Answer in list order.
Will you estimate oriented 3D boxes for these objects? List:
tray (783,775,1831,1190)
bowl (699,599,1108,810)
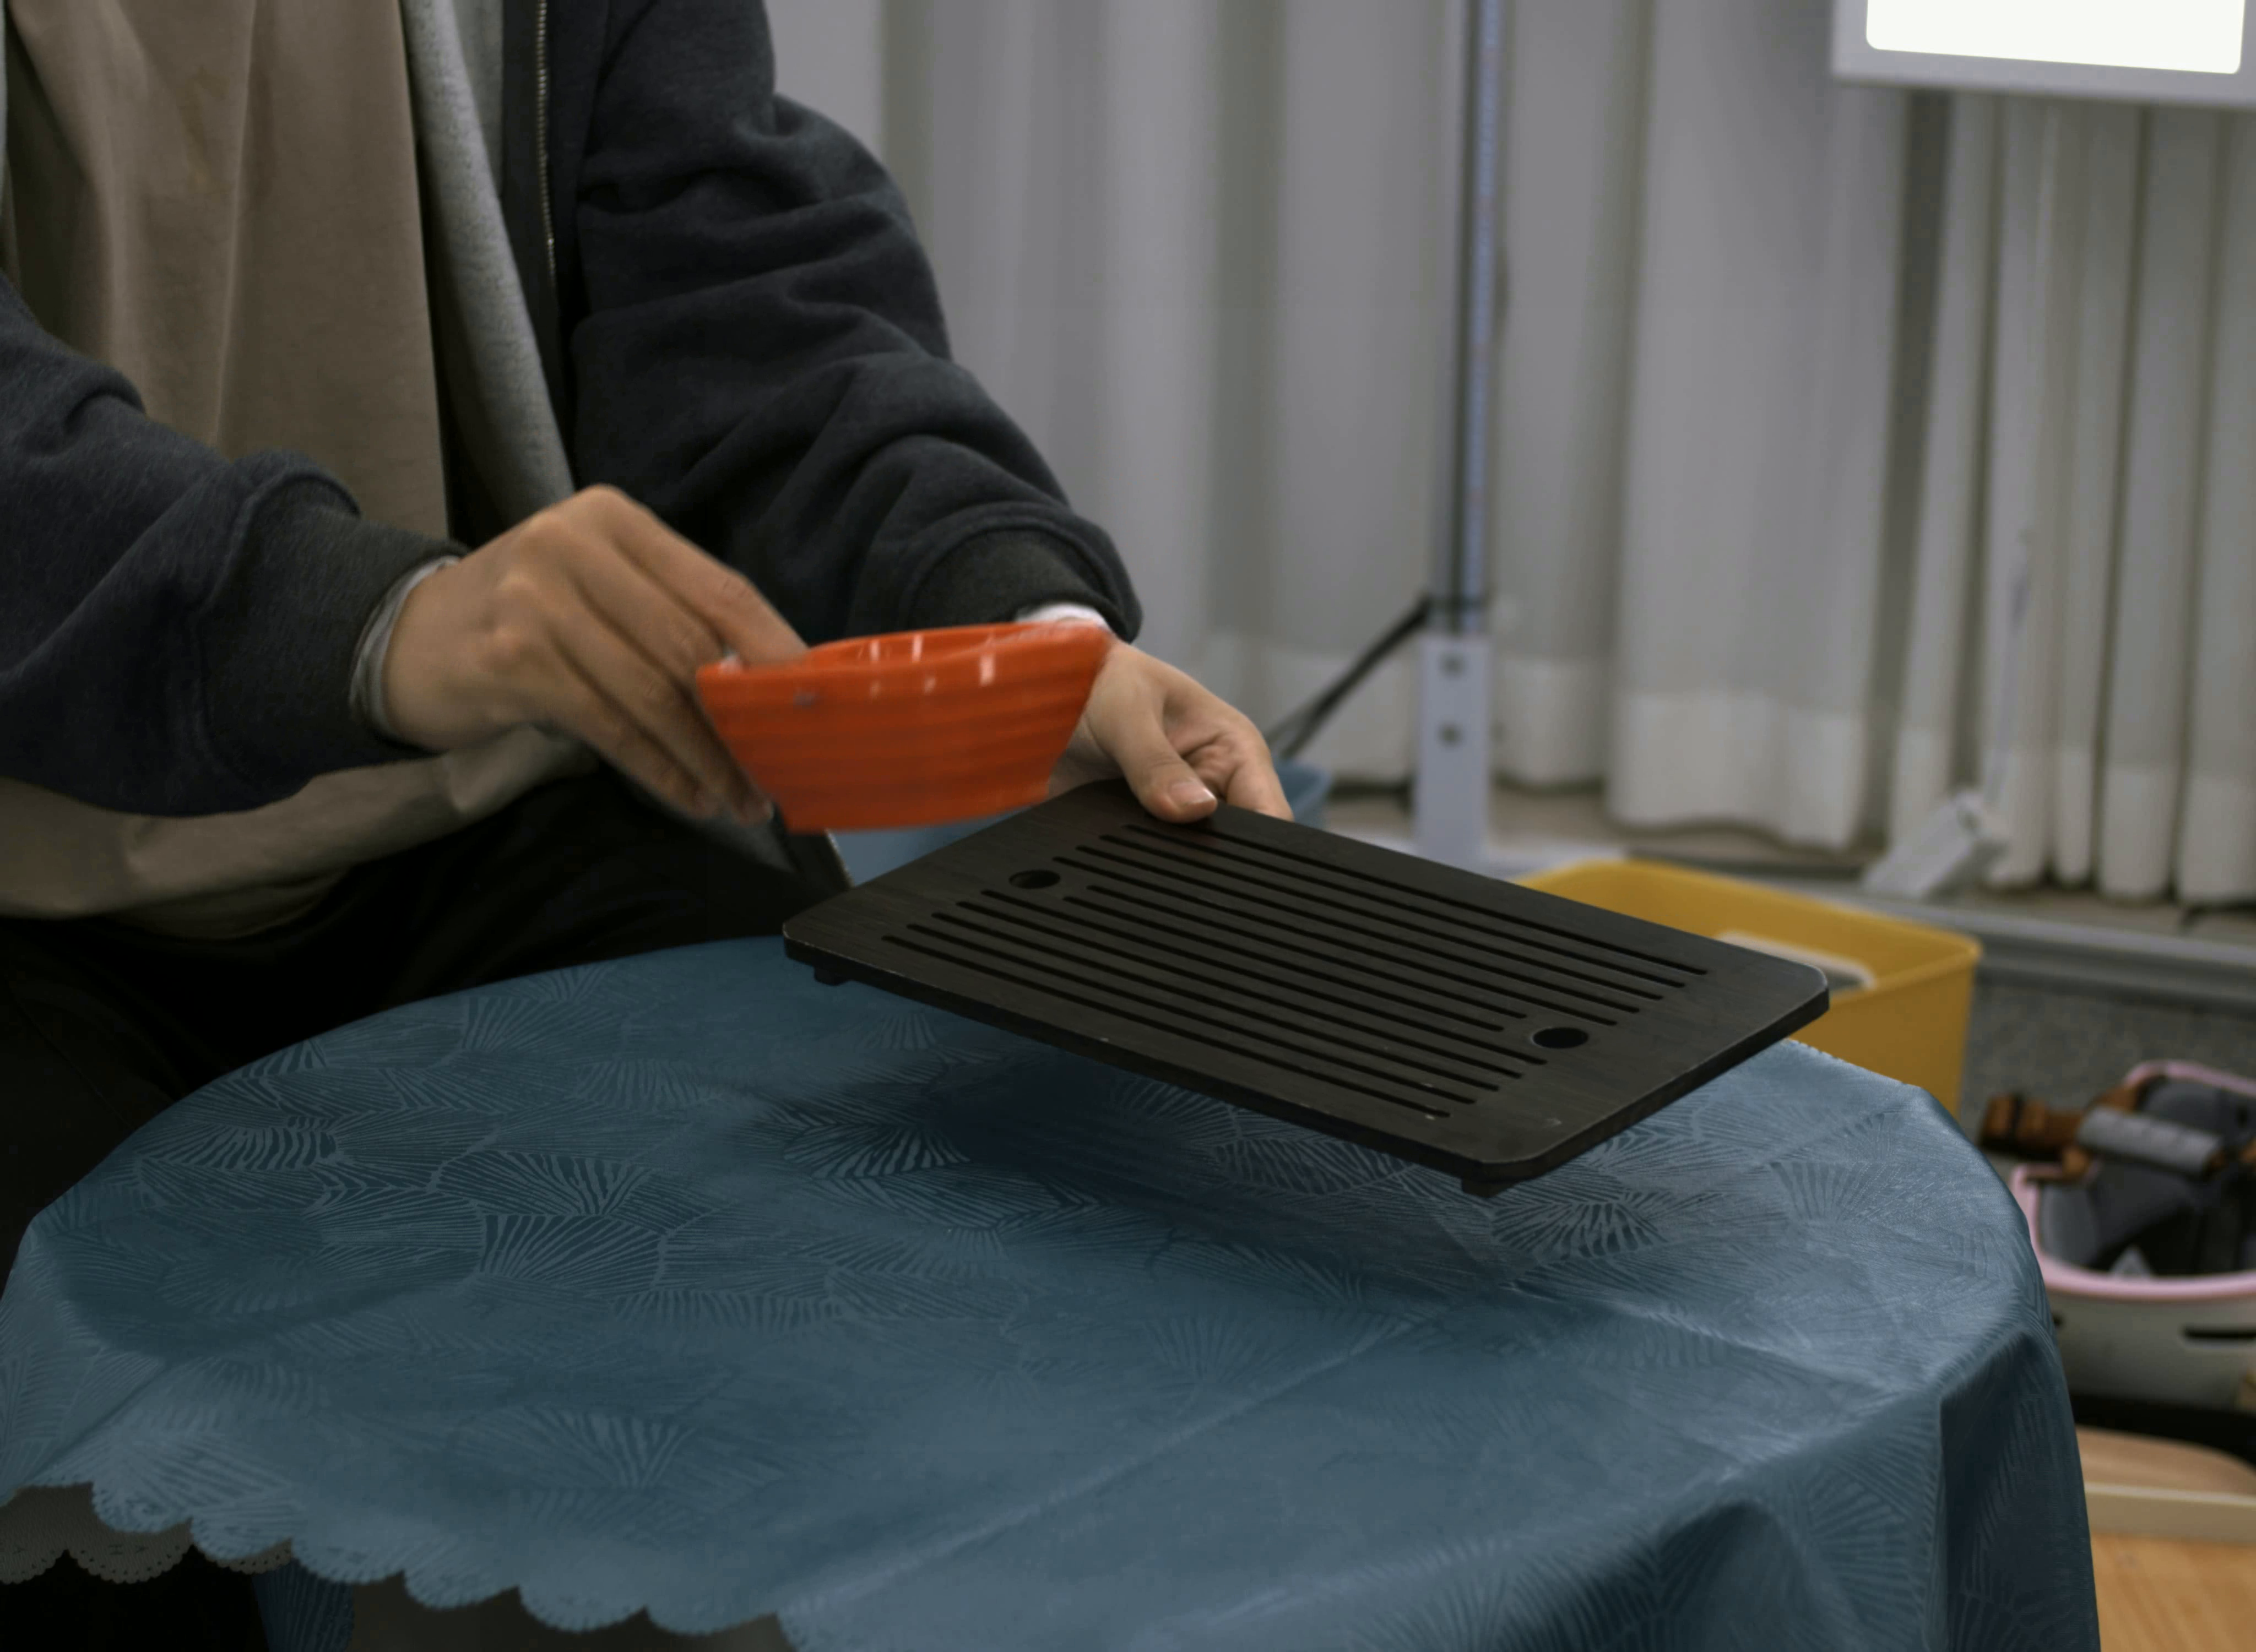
[{"bbox_3d":[0.052,0.045,1.654,0.302,0.019,0.170,16,28,38],"label":"tray"},{"bbox_3d":[-0.063,-0.034,1.519,0.118,0.051,0.118,-5,7,1],"label":"bowl"}]
